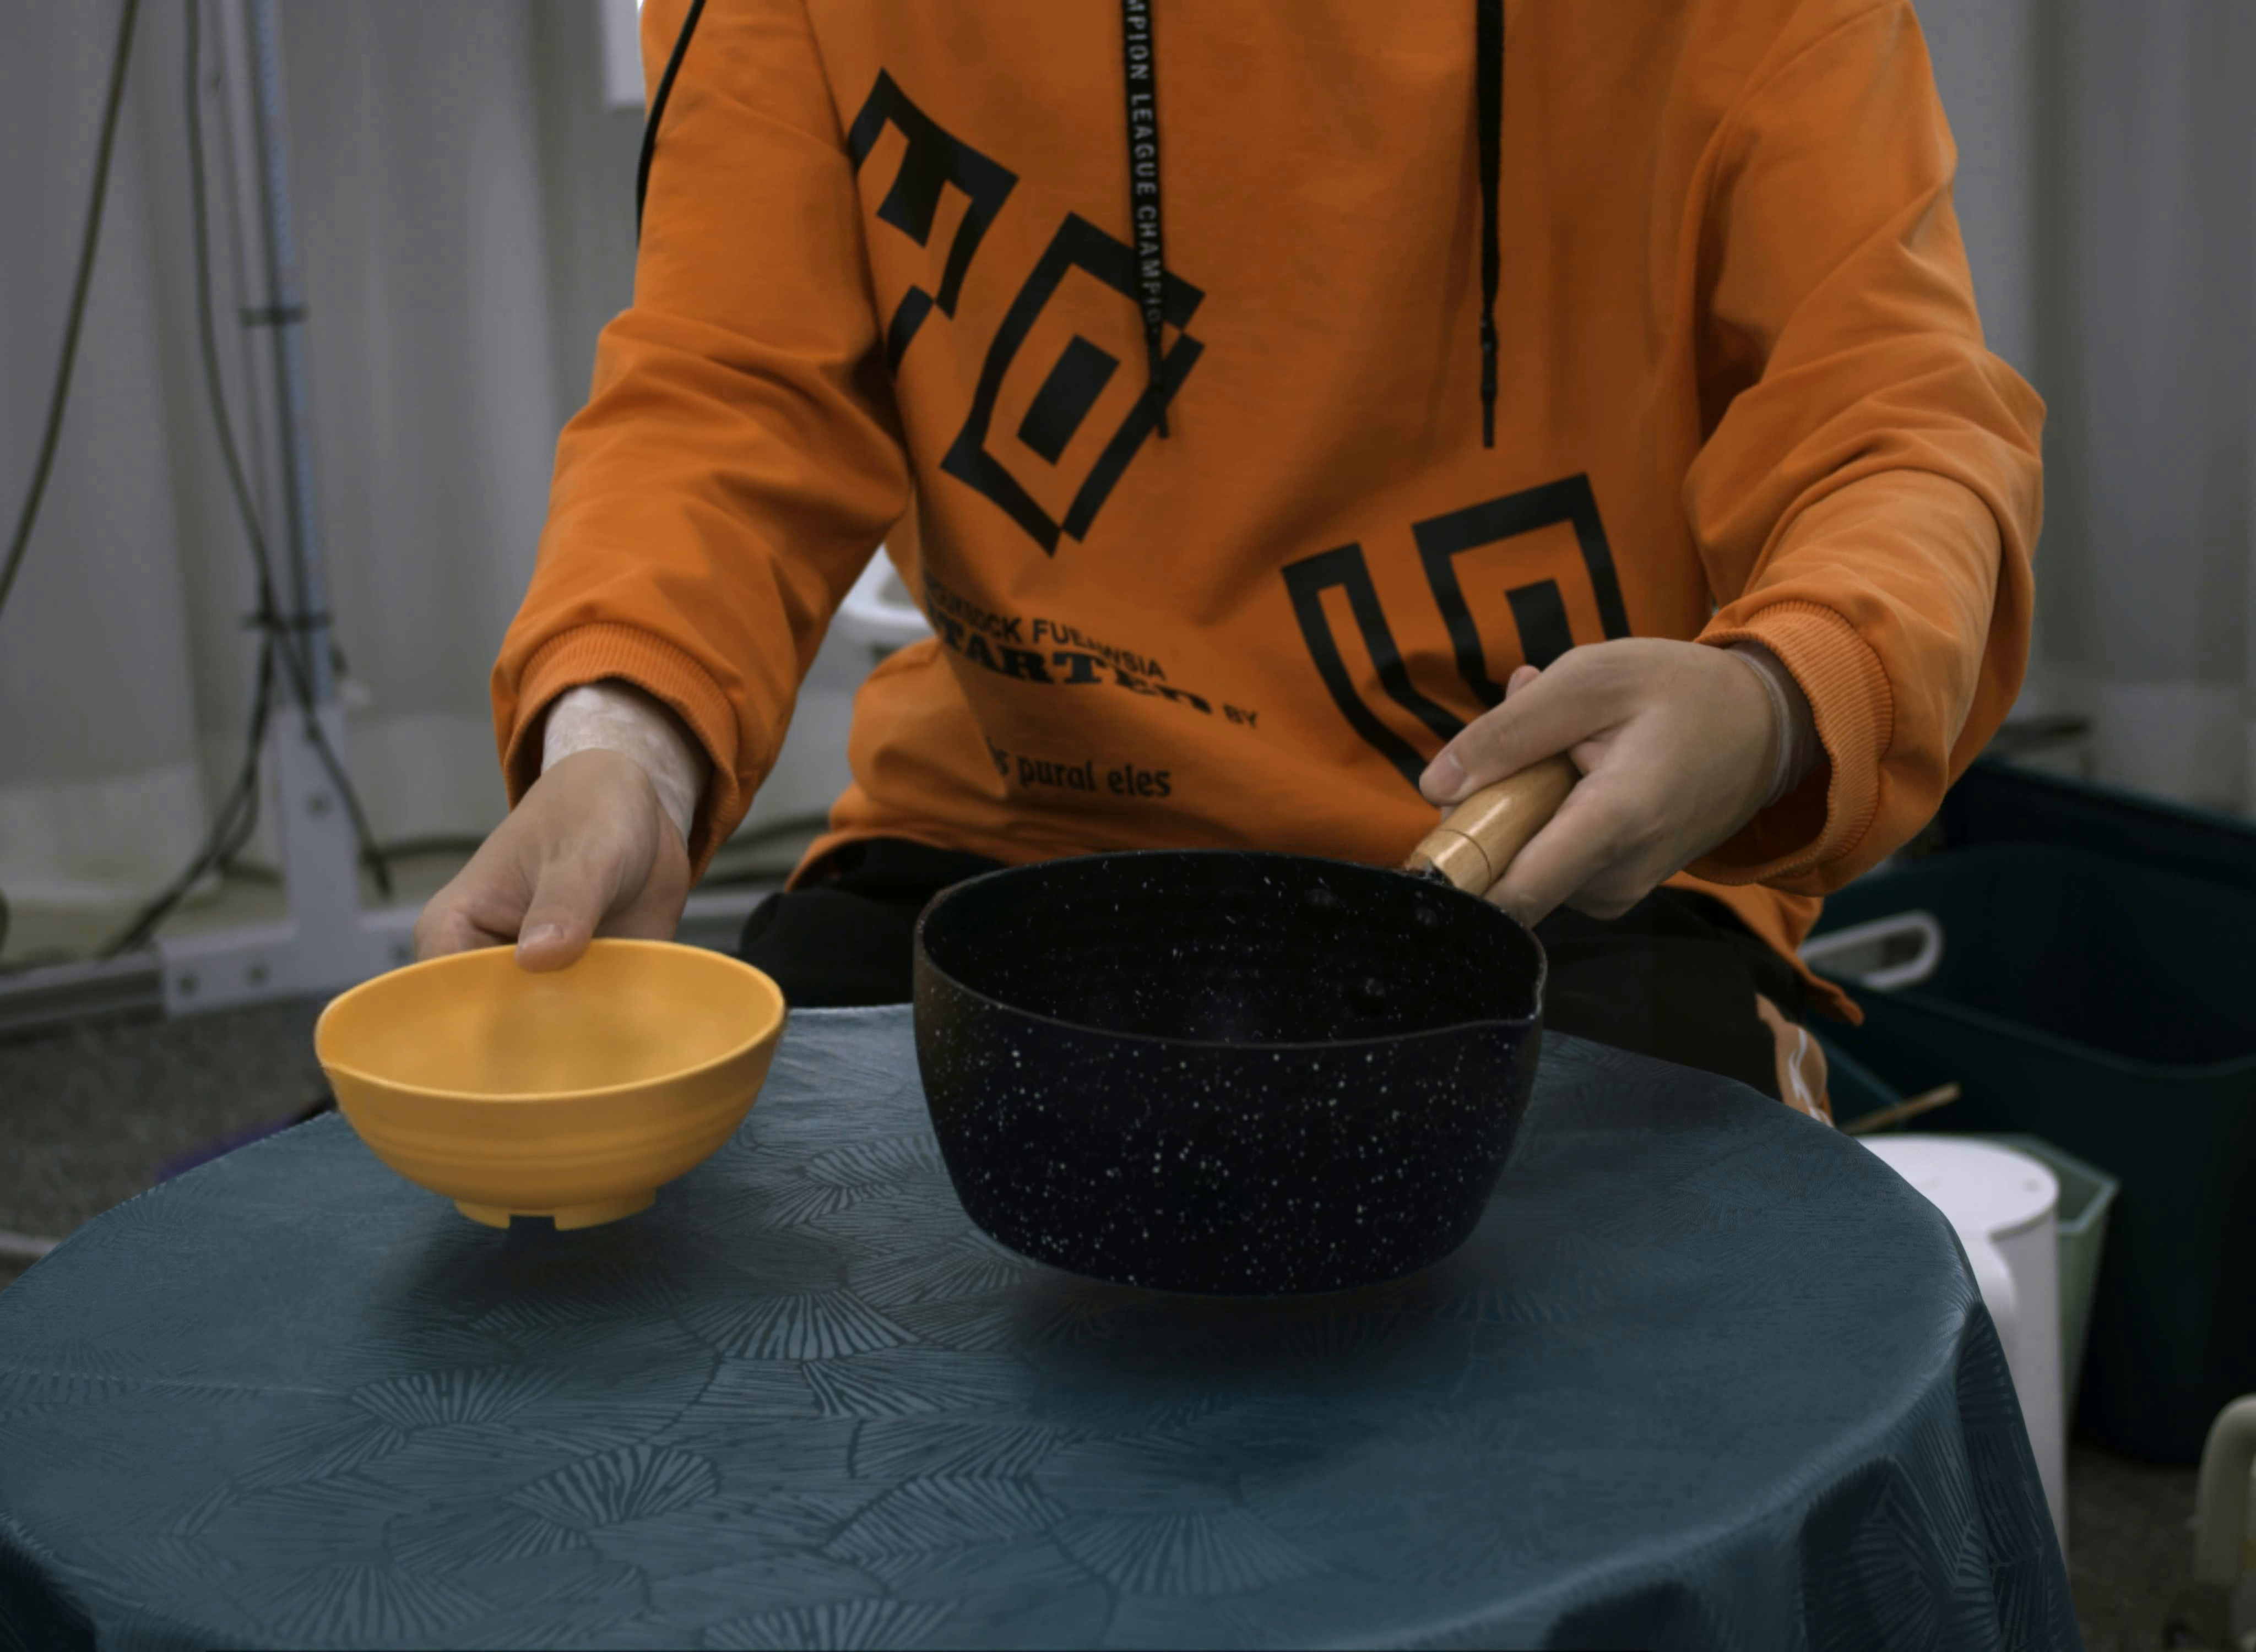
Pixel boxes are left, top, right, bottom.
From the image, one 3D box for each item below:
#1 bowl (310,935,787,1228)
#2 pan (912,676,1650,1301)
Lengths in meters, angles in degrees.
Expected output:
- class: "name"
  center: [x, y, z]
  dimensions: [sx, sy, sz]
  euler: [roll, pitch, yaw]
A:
- class: "bowl"
  center: [-0.175, 0.084, 1.673]
  dimensions: [0.145, 0.060, 0.146]
  euler: [-1, 17, 0]
- class: "pan"
  center: [0.069, 0.043, 1.660]
  dimensions: [0.208, 0.108, 0.343]
  euler: [10, 20, 29]
